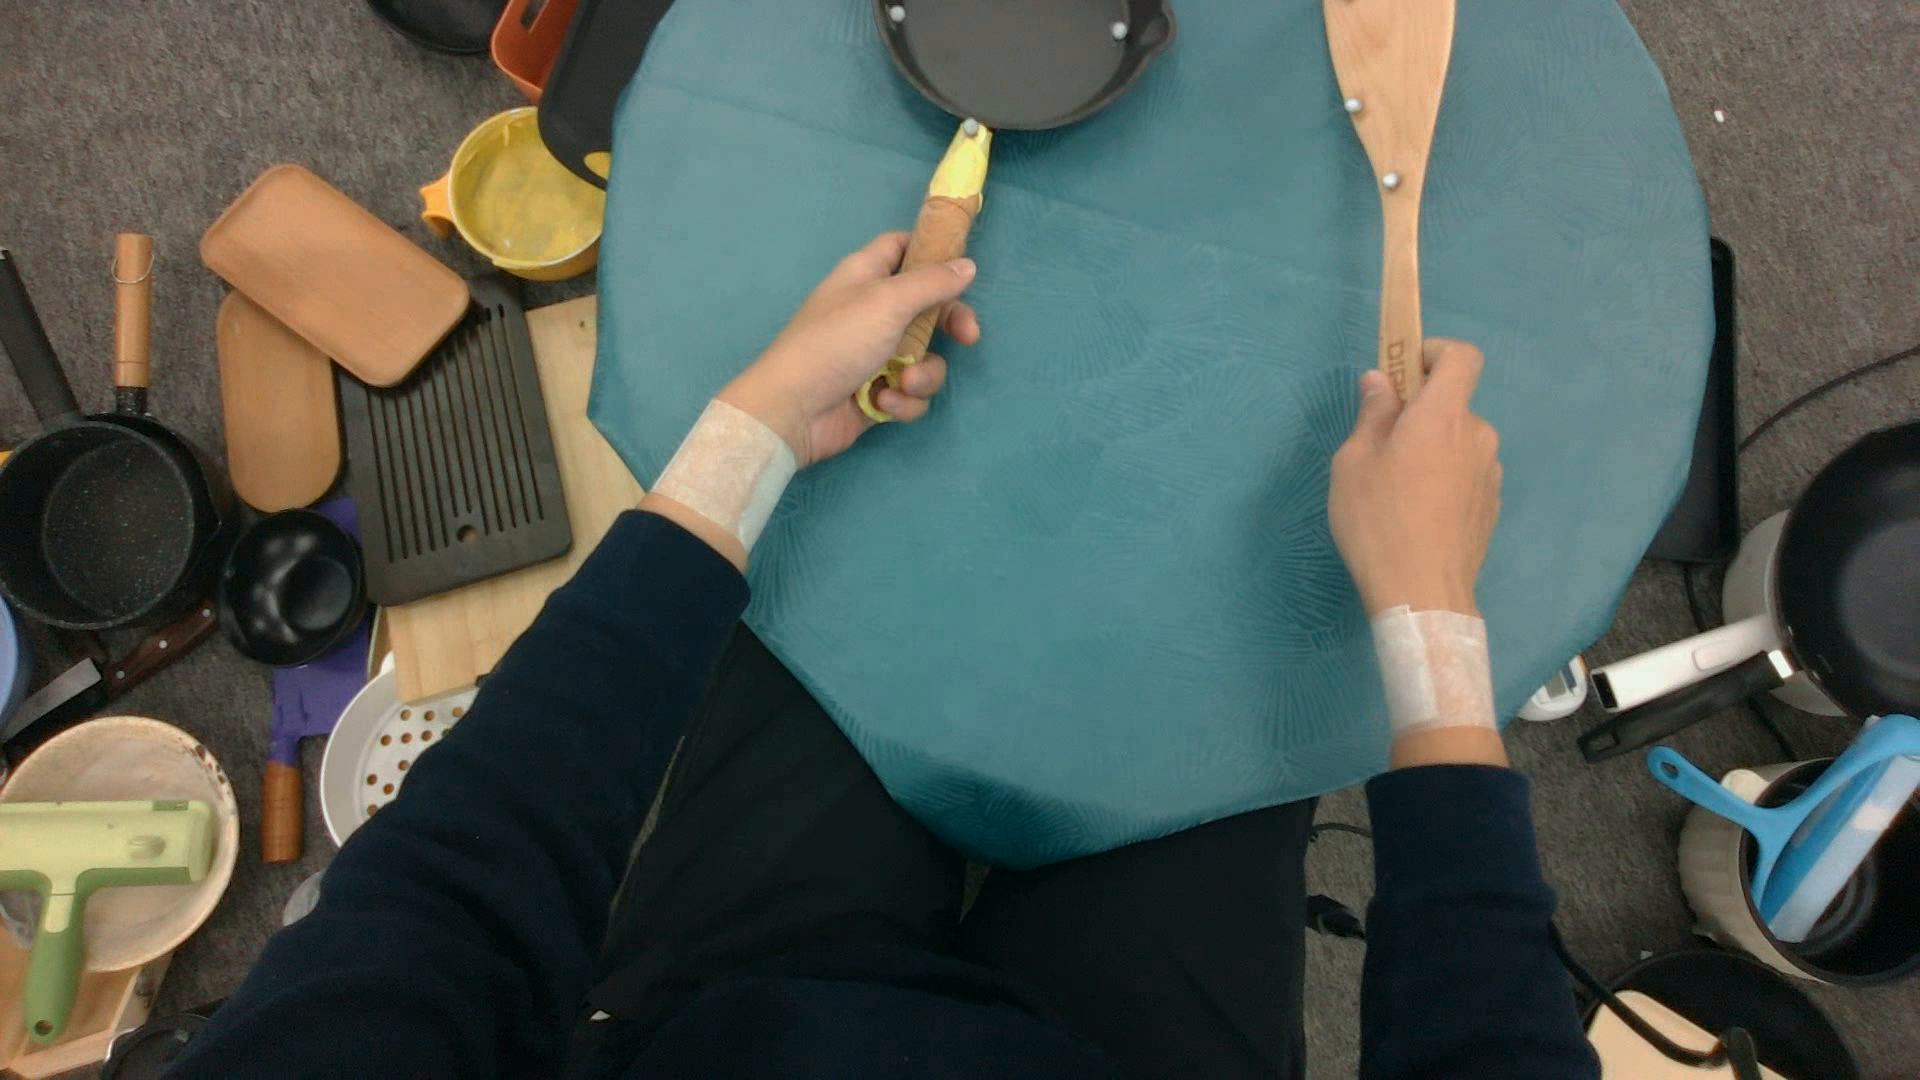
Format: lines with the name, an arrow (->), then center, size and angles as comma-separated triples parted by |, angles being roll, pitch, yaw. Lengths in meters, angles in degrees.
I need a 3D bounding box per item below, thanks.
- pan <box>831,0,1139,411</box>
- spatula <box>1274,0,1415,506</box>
pan -> -0.012, -0.215, 0.718 | 0.169, 0.049, 0.325 | 18, 78, 0
spatula -> 0.201, -0.176, 0.698 | 0.016, 0.079, 0.328 | 11, 72, -38
